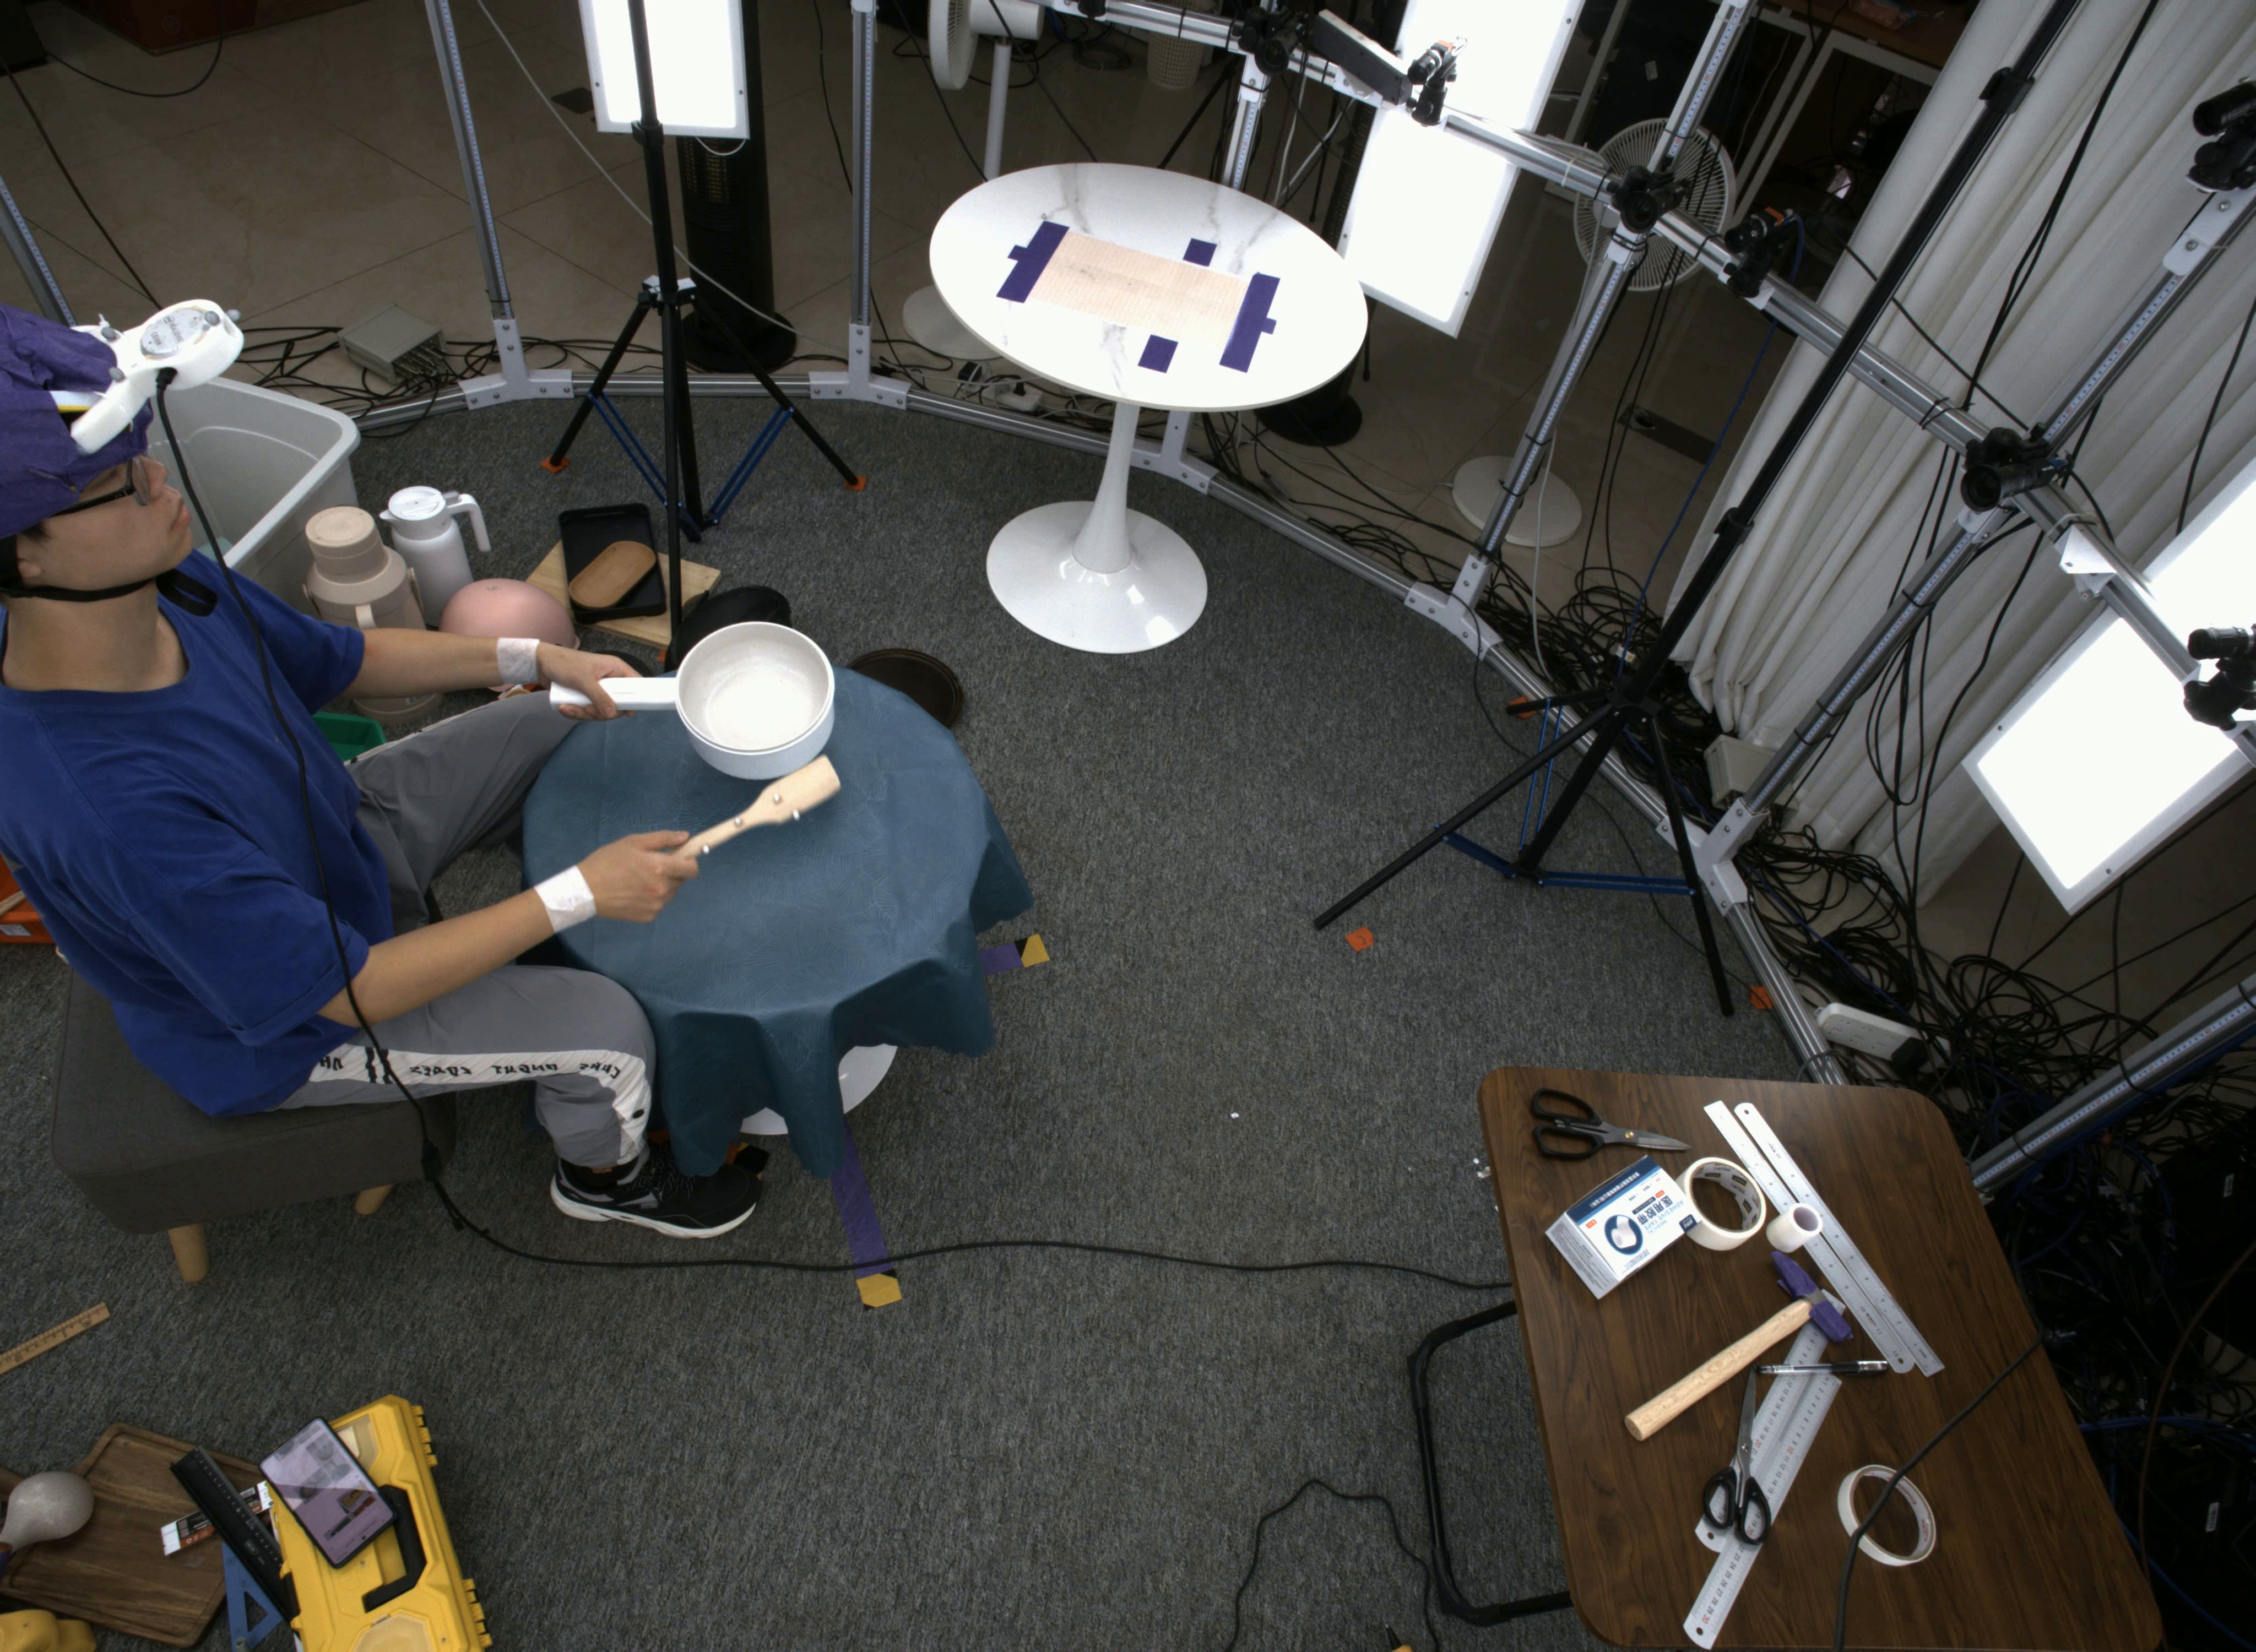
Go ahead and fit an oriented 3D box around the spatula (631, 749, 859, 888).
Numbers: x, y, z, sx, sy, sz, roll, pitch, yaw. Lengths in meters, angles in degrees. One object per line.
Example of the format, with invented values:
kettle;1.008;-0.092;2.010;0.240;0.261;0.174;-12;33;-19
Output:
spatula;-0.450;-0.004;1.508;0.292;0.011;0.070;-29;44;-10

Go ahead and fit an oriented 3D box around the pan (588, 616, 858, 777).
pan;-0.532;-0.165;1.695;0.354;0.103;0.199;-1;67;-11
